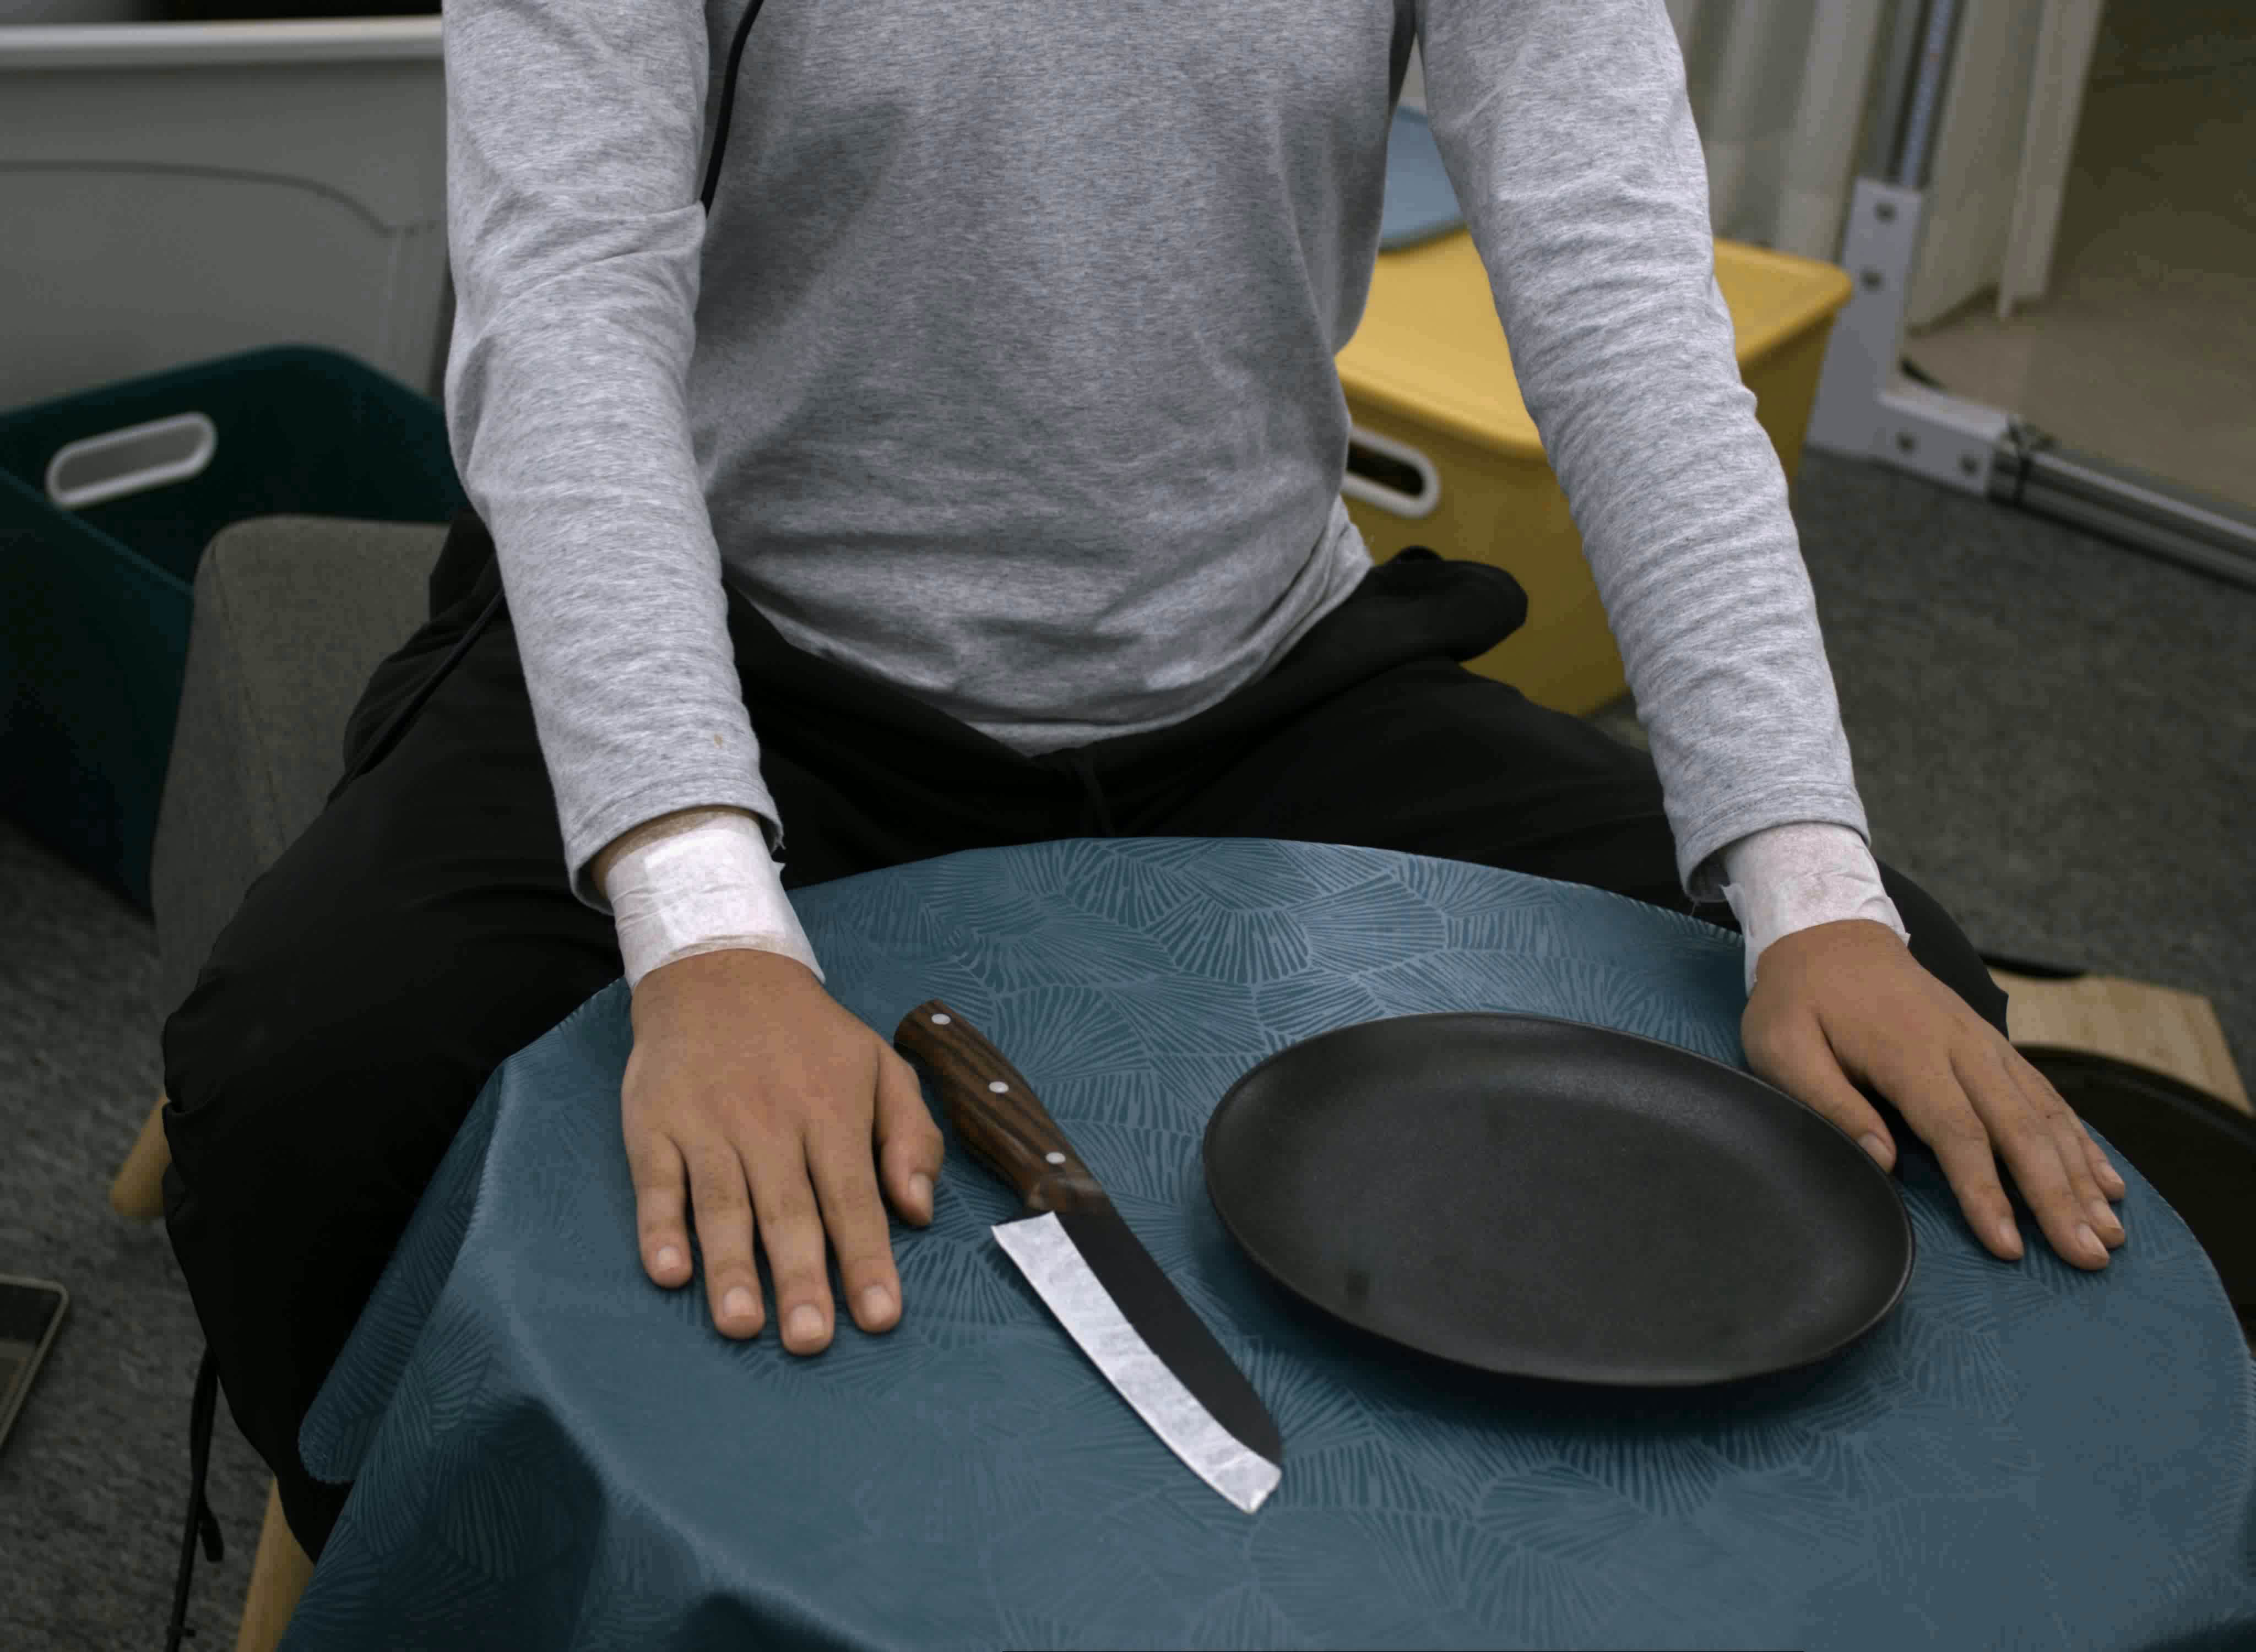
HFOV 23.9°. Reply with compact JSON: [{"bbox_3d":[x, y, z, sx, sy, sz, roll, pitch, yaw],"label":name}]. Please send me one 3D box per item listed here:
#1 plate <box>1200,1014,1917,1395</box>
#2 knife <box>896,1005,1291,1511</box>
[{"bbox_3d":[0.144,0.131,1.798,0.243,0.023,0.246,5,27,-3],"label":"plate"},{"bbox_3d":[-0.015,0.140,1.754,0.050,0.020,0.292,-10,33,-21],"label":"knife"}]
